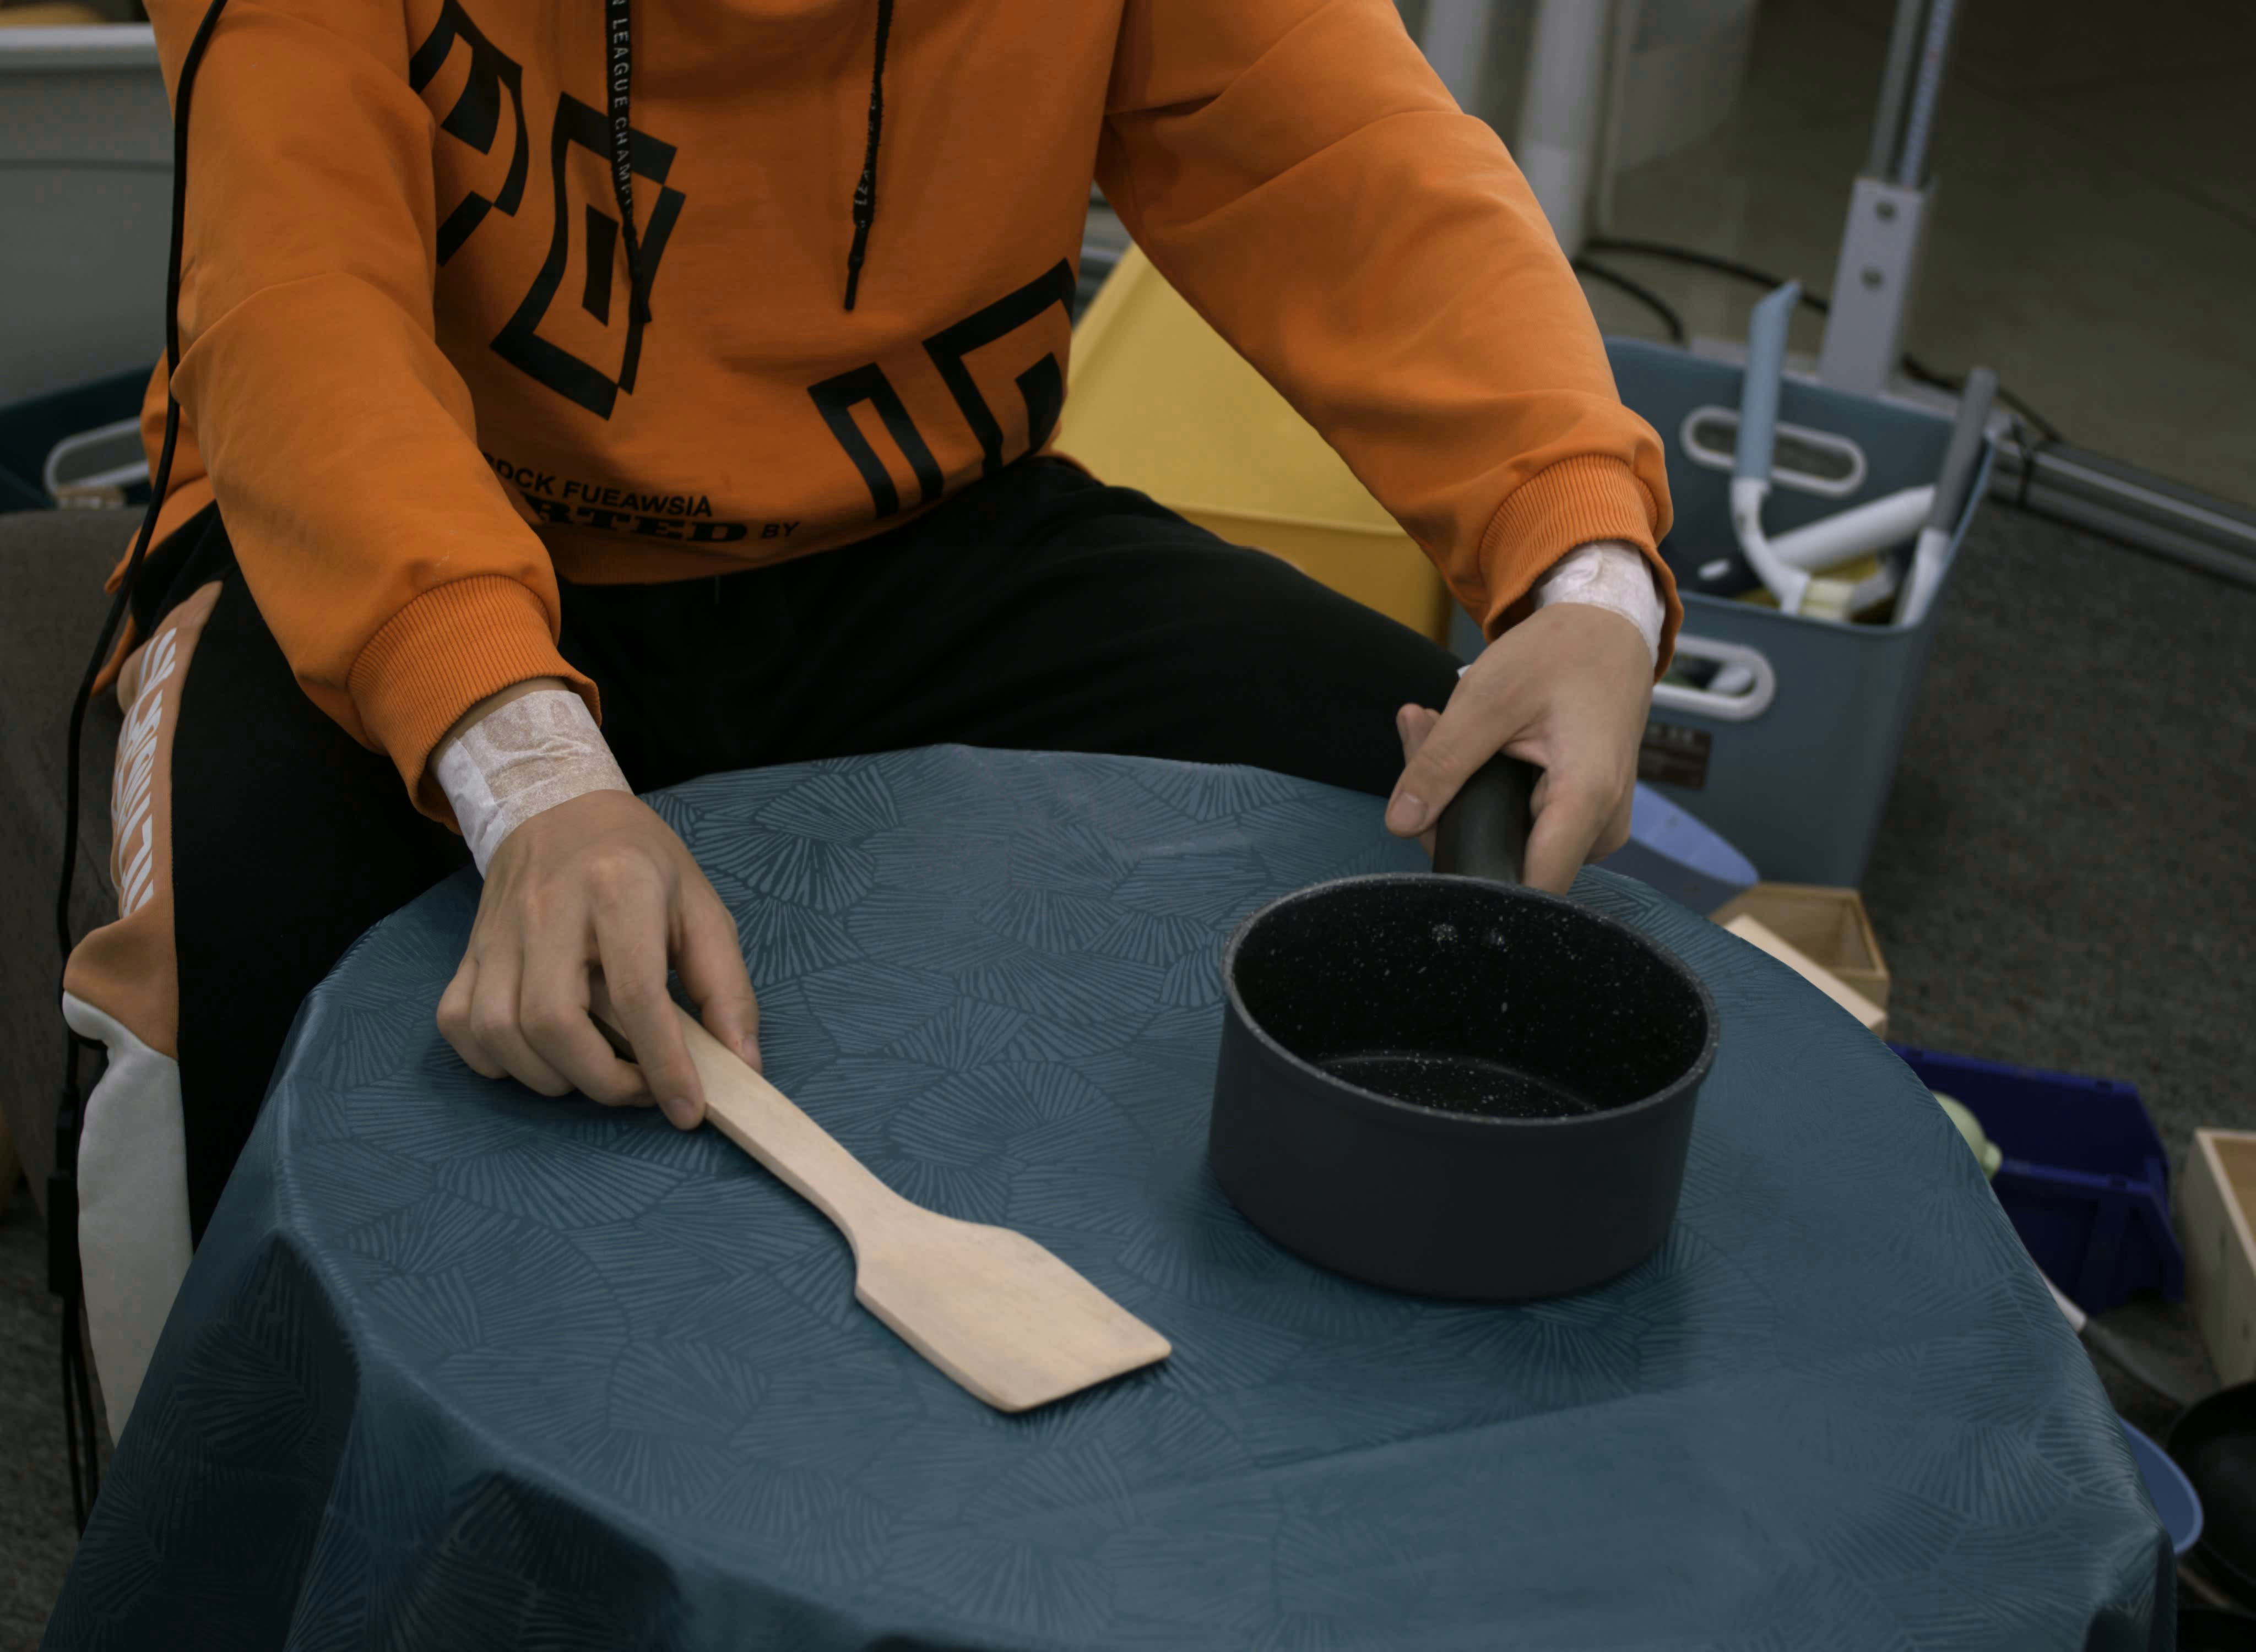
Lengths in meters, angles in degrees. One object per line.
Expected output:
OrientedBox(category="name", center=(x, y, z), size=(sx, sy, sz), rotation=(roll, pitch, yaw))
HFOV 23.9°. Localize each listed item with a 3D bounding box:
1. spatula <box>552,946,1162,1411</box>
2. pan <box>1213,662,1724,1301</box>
OrientedBox(category="spatula", center=(-0.105, 0.113, 1.782), size=(0.072, 0.010, 0.295), rotation=(-18, 38, -35))
OrientedBox(category="pan", center=(0.123, 0.050, 1.881), size=(0.172, 0.086, 0.330), rotation=(9, 29, 5))
